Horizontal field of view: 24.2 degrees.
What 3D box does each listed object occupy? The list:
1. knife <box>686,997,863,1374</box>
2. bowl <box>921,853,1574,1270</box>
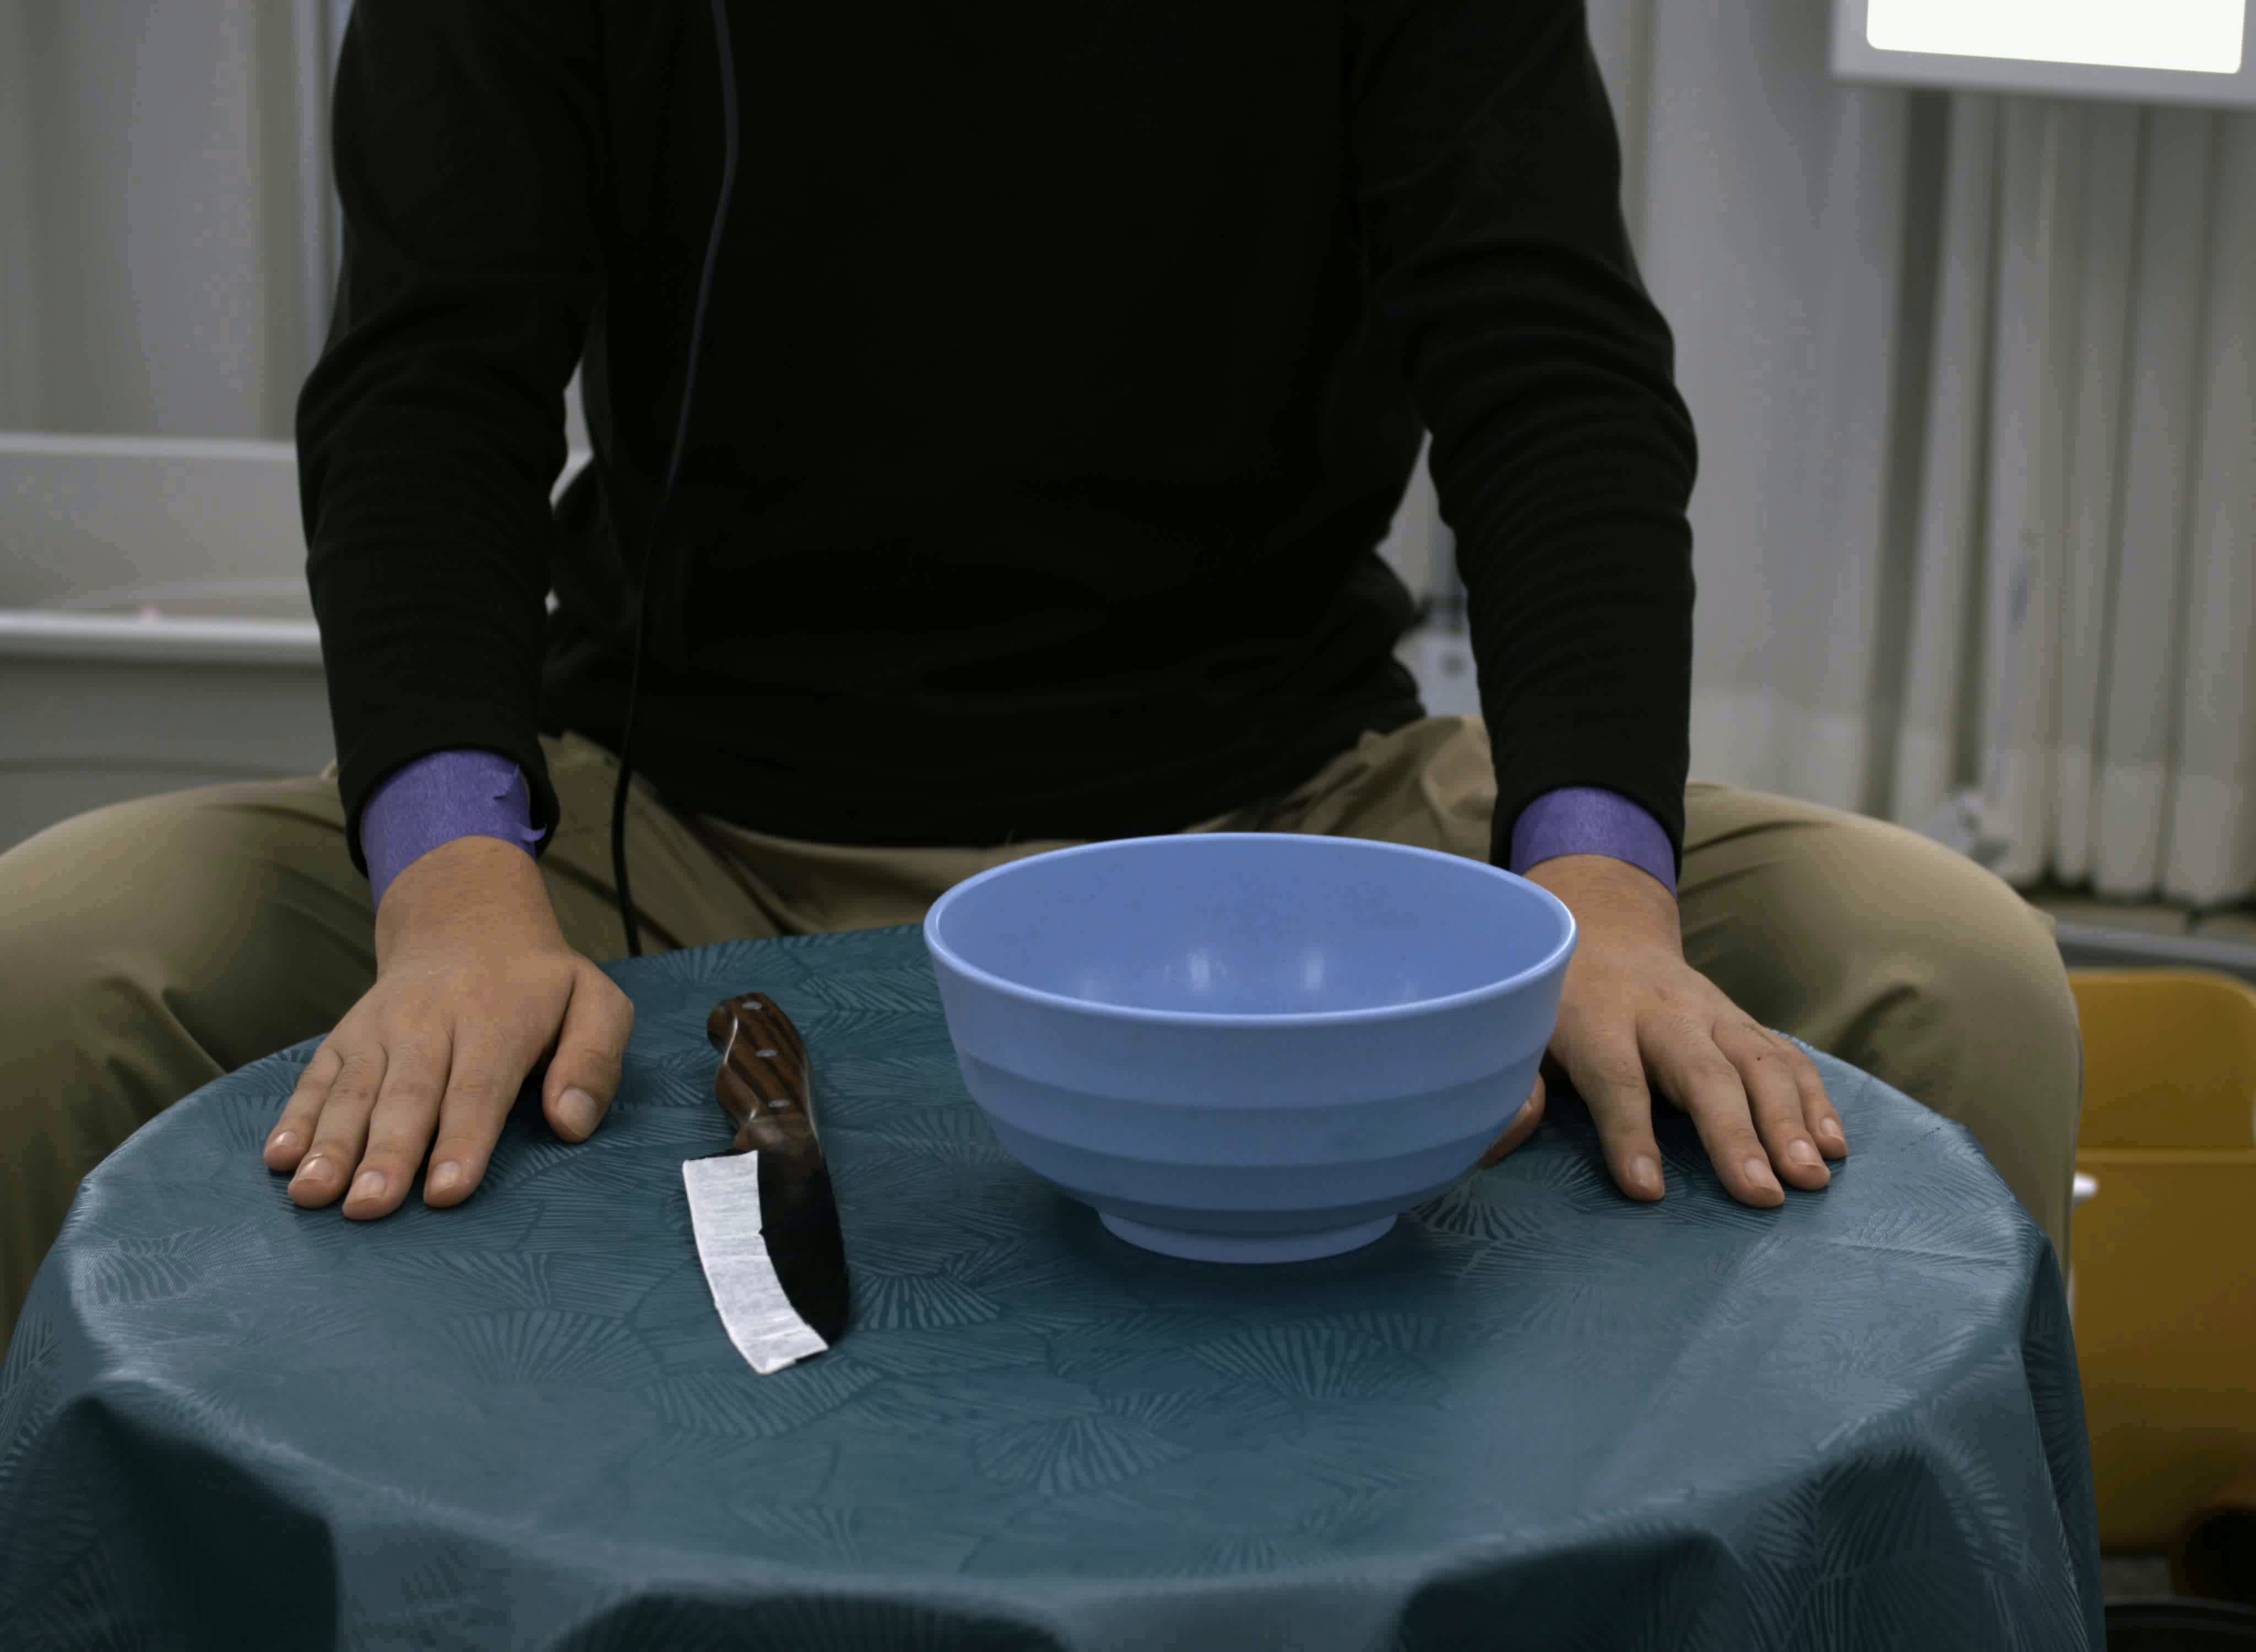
[{"bbox_3d":[-0.110,0.108,1.605,0.050,0.020,0.287,-5,18,-4],"label":"knife"},{"bbox_3d":[0.036,0.075,1.591,0.196,0.096,0.195,0,14,1],"label":"bowl"}]
